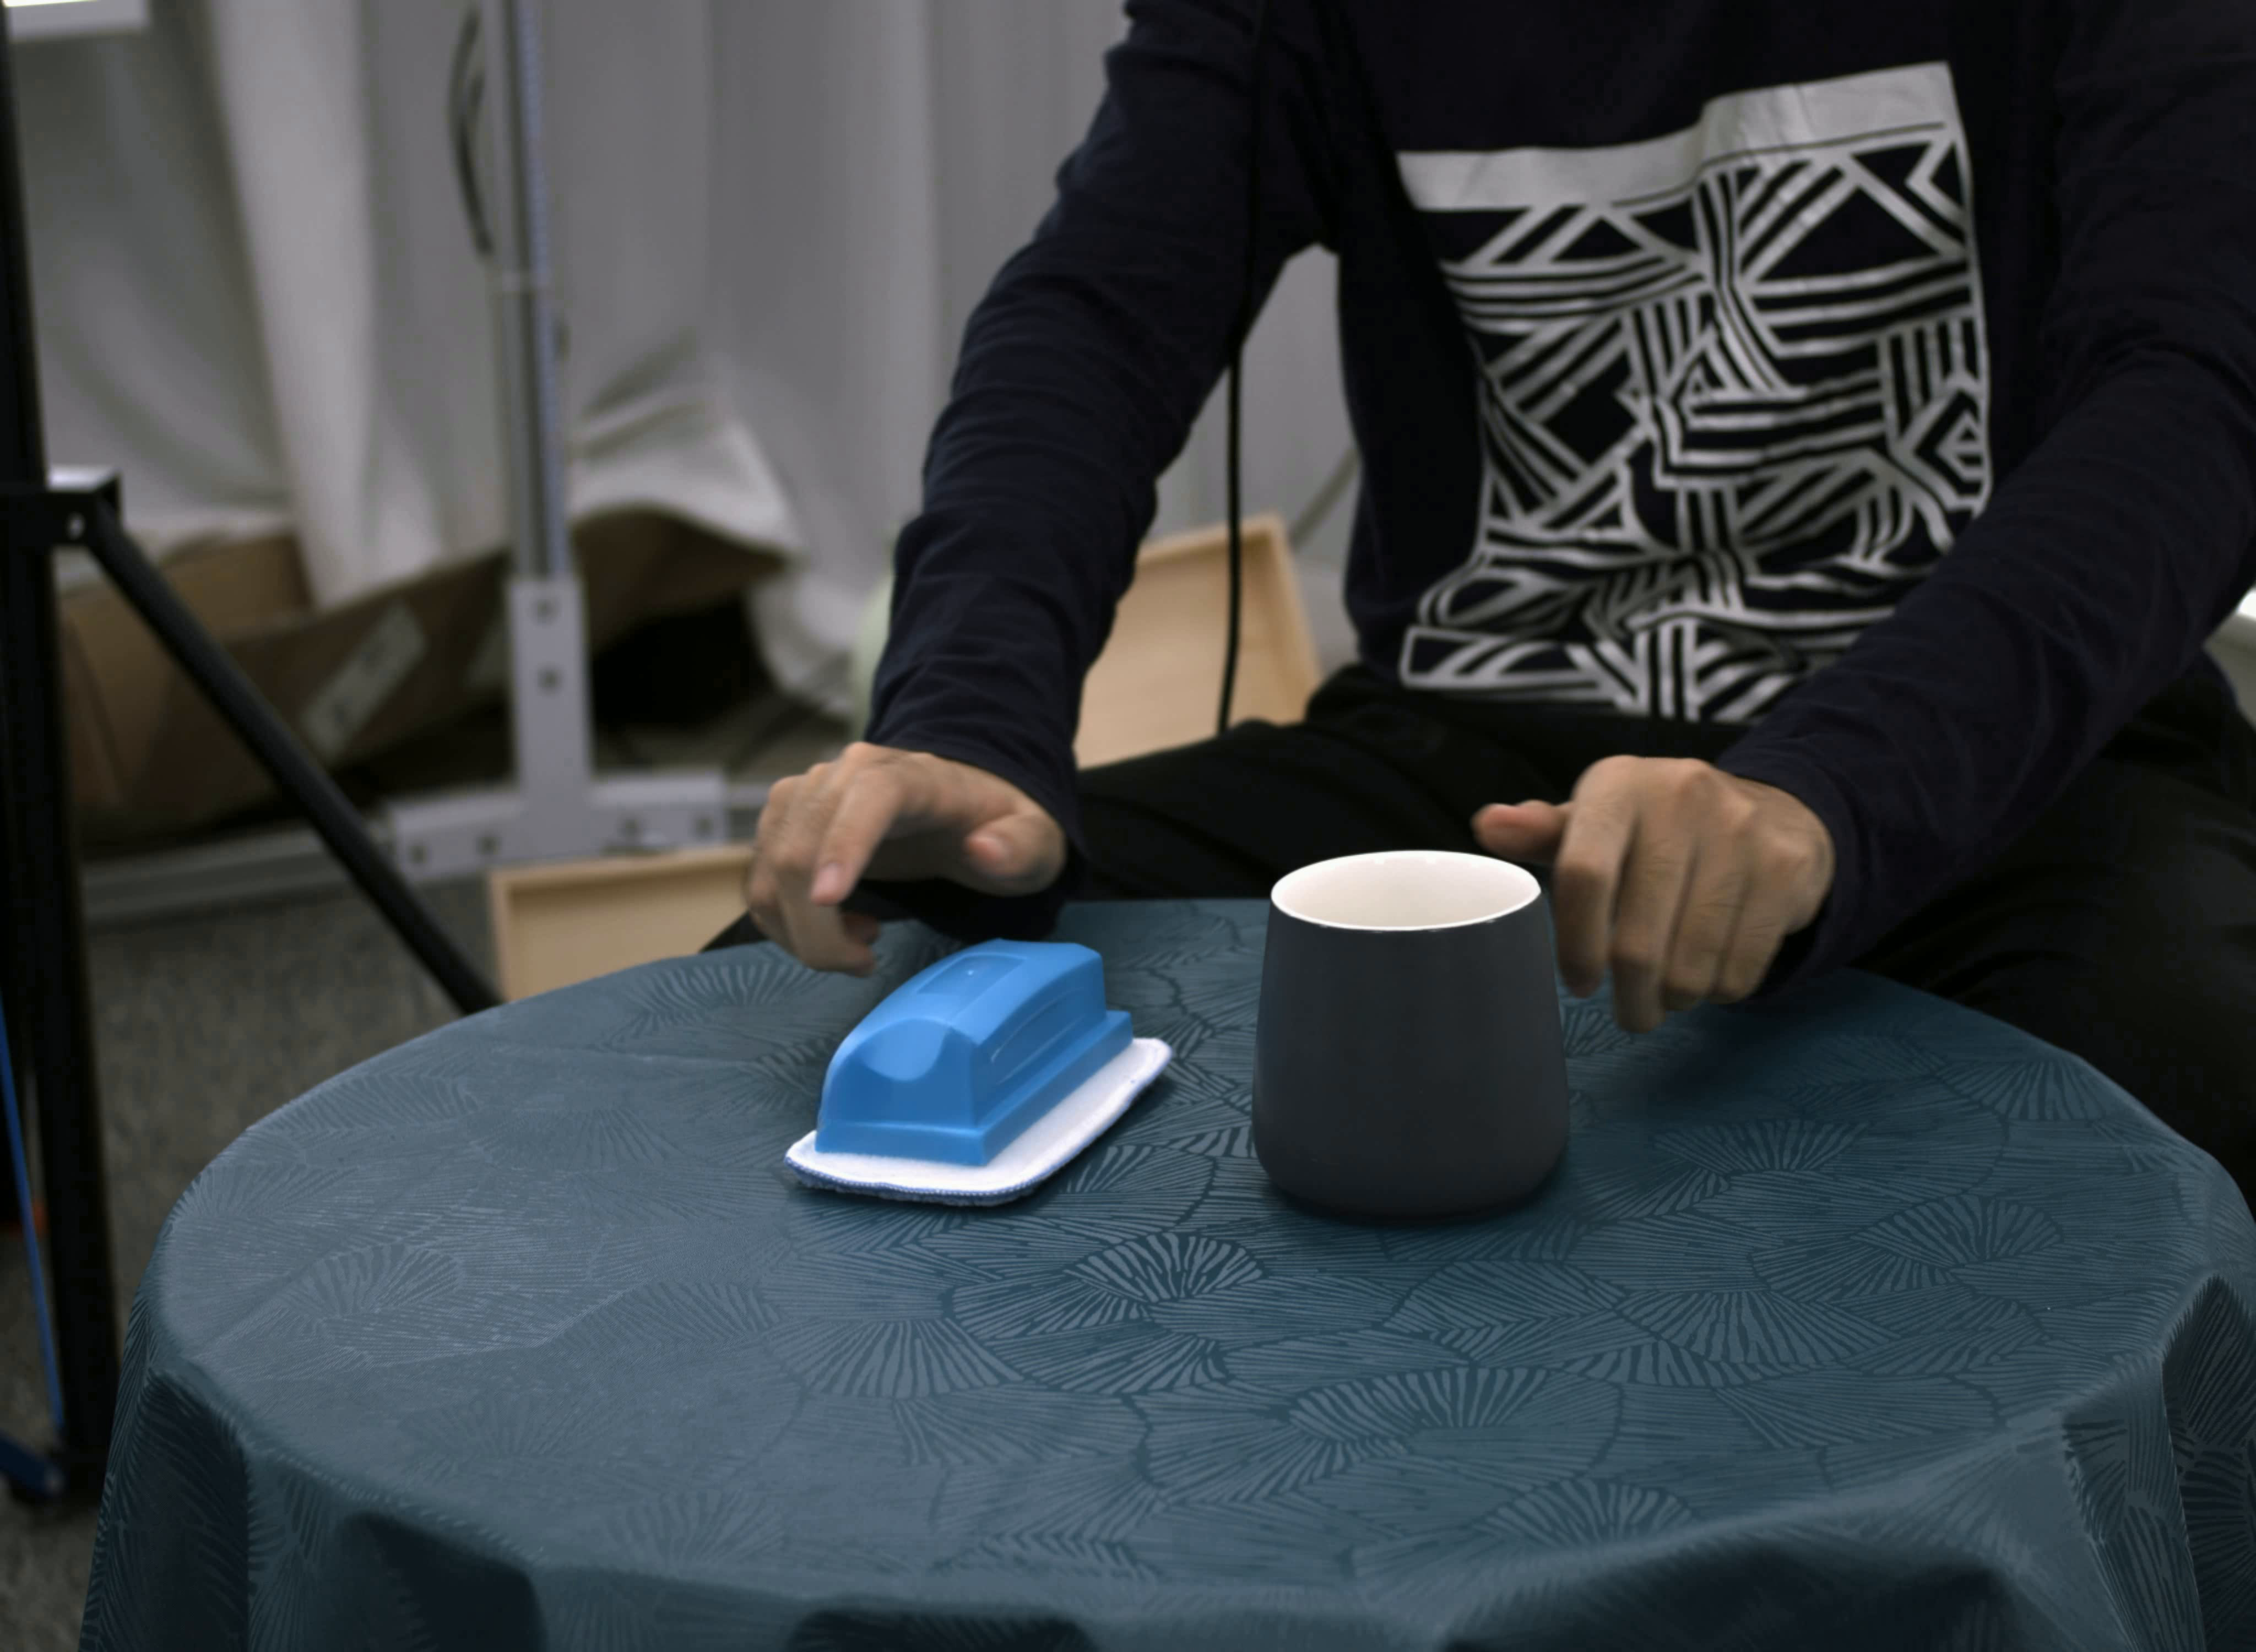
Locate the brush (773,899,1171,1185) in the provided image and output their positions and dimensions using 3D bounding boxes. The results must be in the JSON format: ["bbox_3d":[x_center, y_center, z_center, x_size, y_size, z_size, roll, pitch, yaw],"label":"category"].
[{"bbox_3d":[-0.046,0.062,1.619,0.085,0.056,0.142,8,21,23],"label":"brush"}]

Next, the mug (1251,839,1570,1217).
[{"bbox_3d":[0.088,0.055,1.560,0.095,0.090,0.121,6,20,23],"label":"mug"}]
